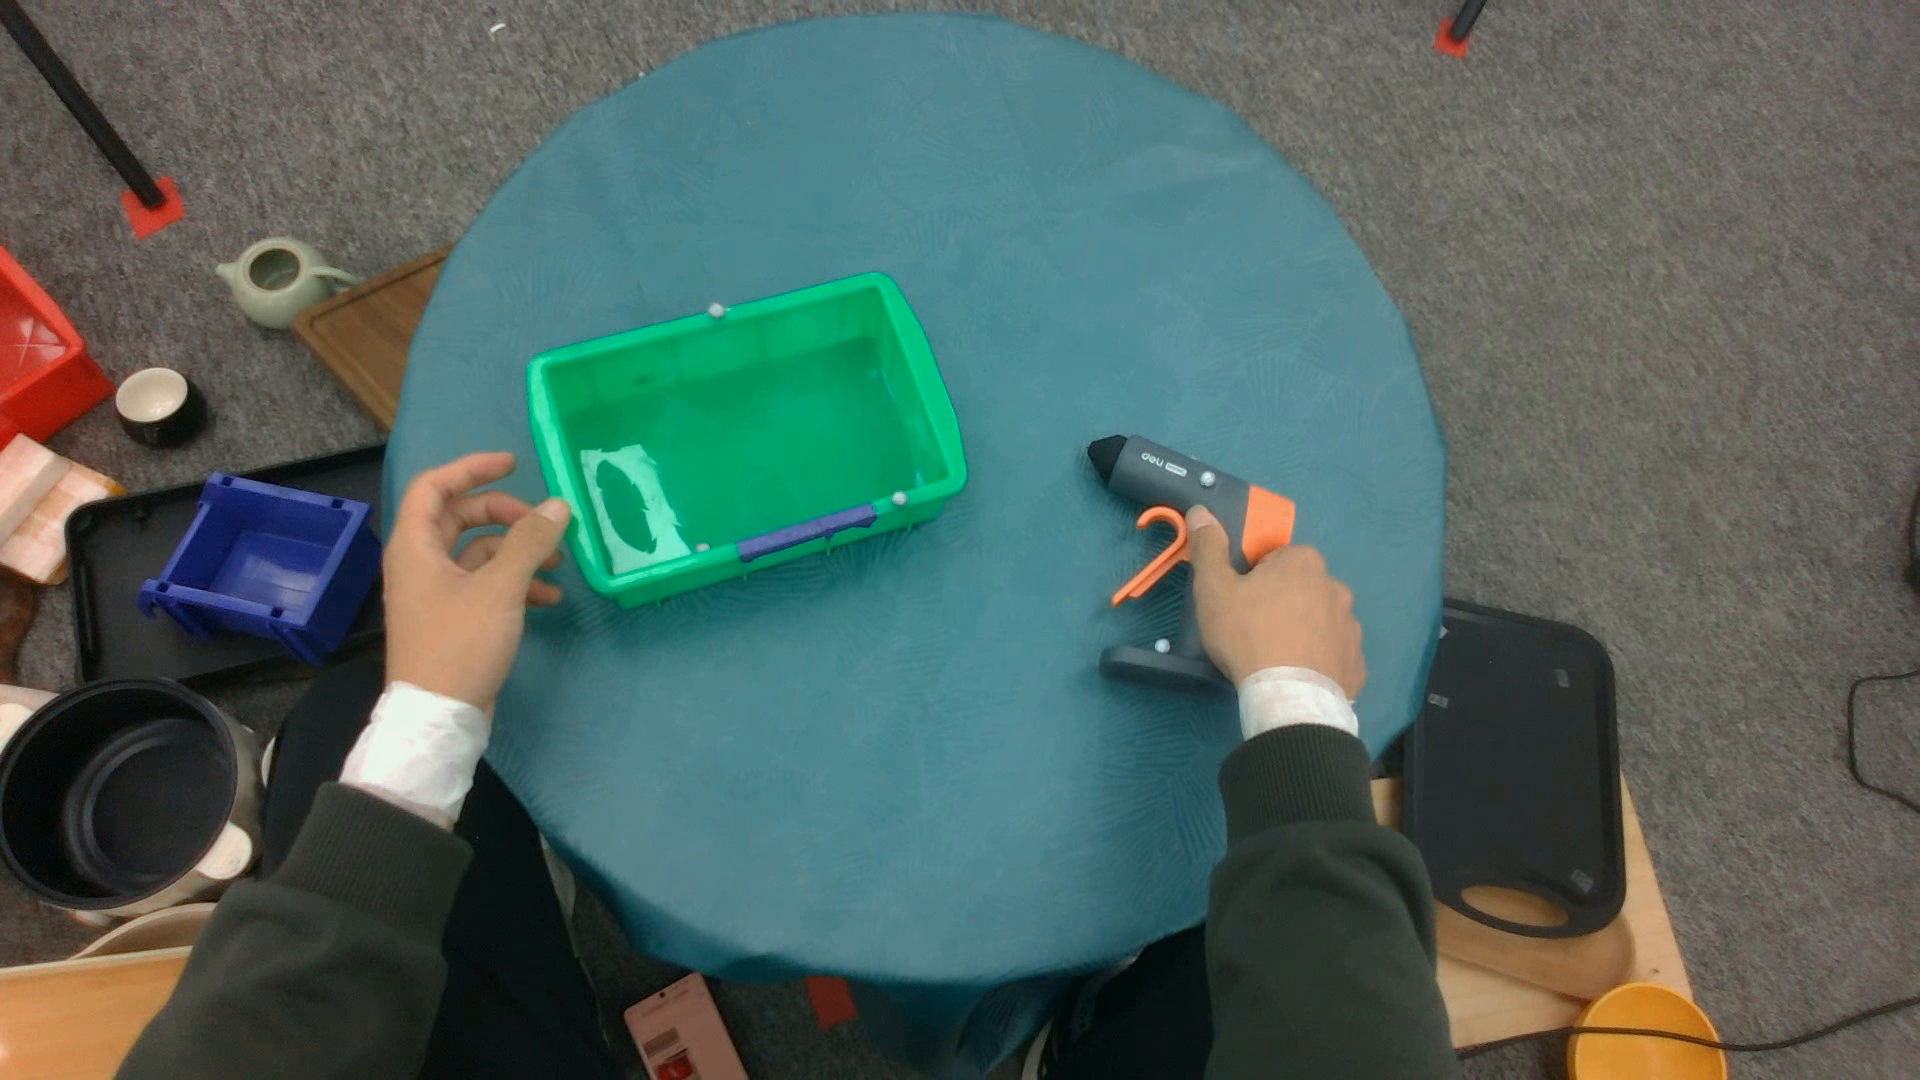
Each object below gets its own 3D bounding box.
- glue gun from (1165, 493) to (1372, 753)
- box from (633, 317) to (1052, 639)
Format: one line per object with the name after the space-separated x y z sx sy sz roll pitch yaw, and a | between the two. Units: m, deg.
0.162 0.041 0.761 0.118 0.041 0.140 7 65 16 | glue gun
-0.065 -0.031 0.762 0.211 0.065 0.139 -15 71 -12 | box
